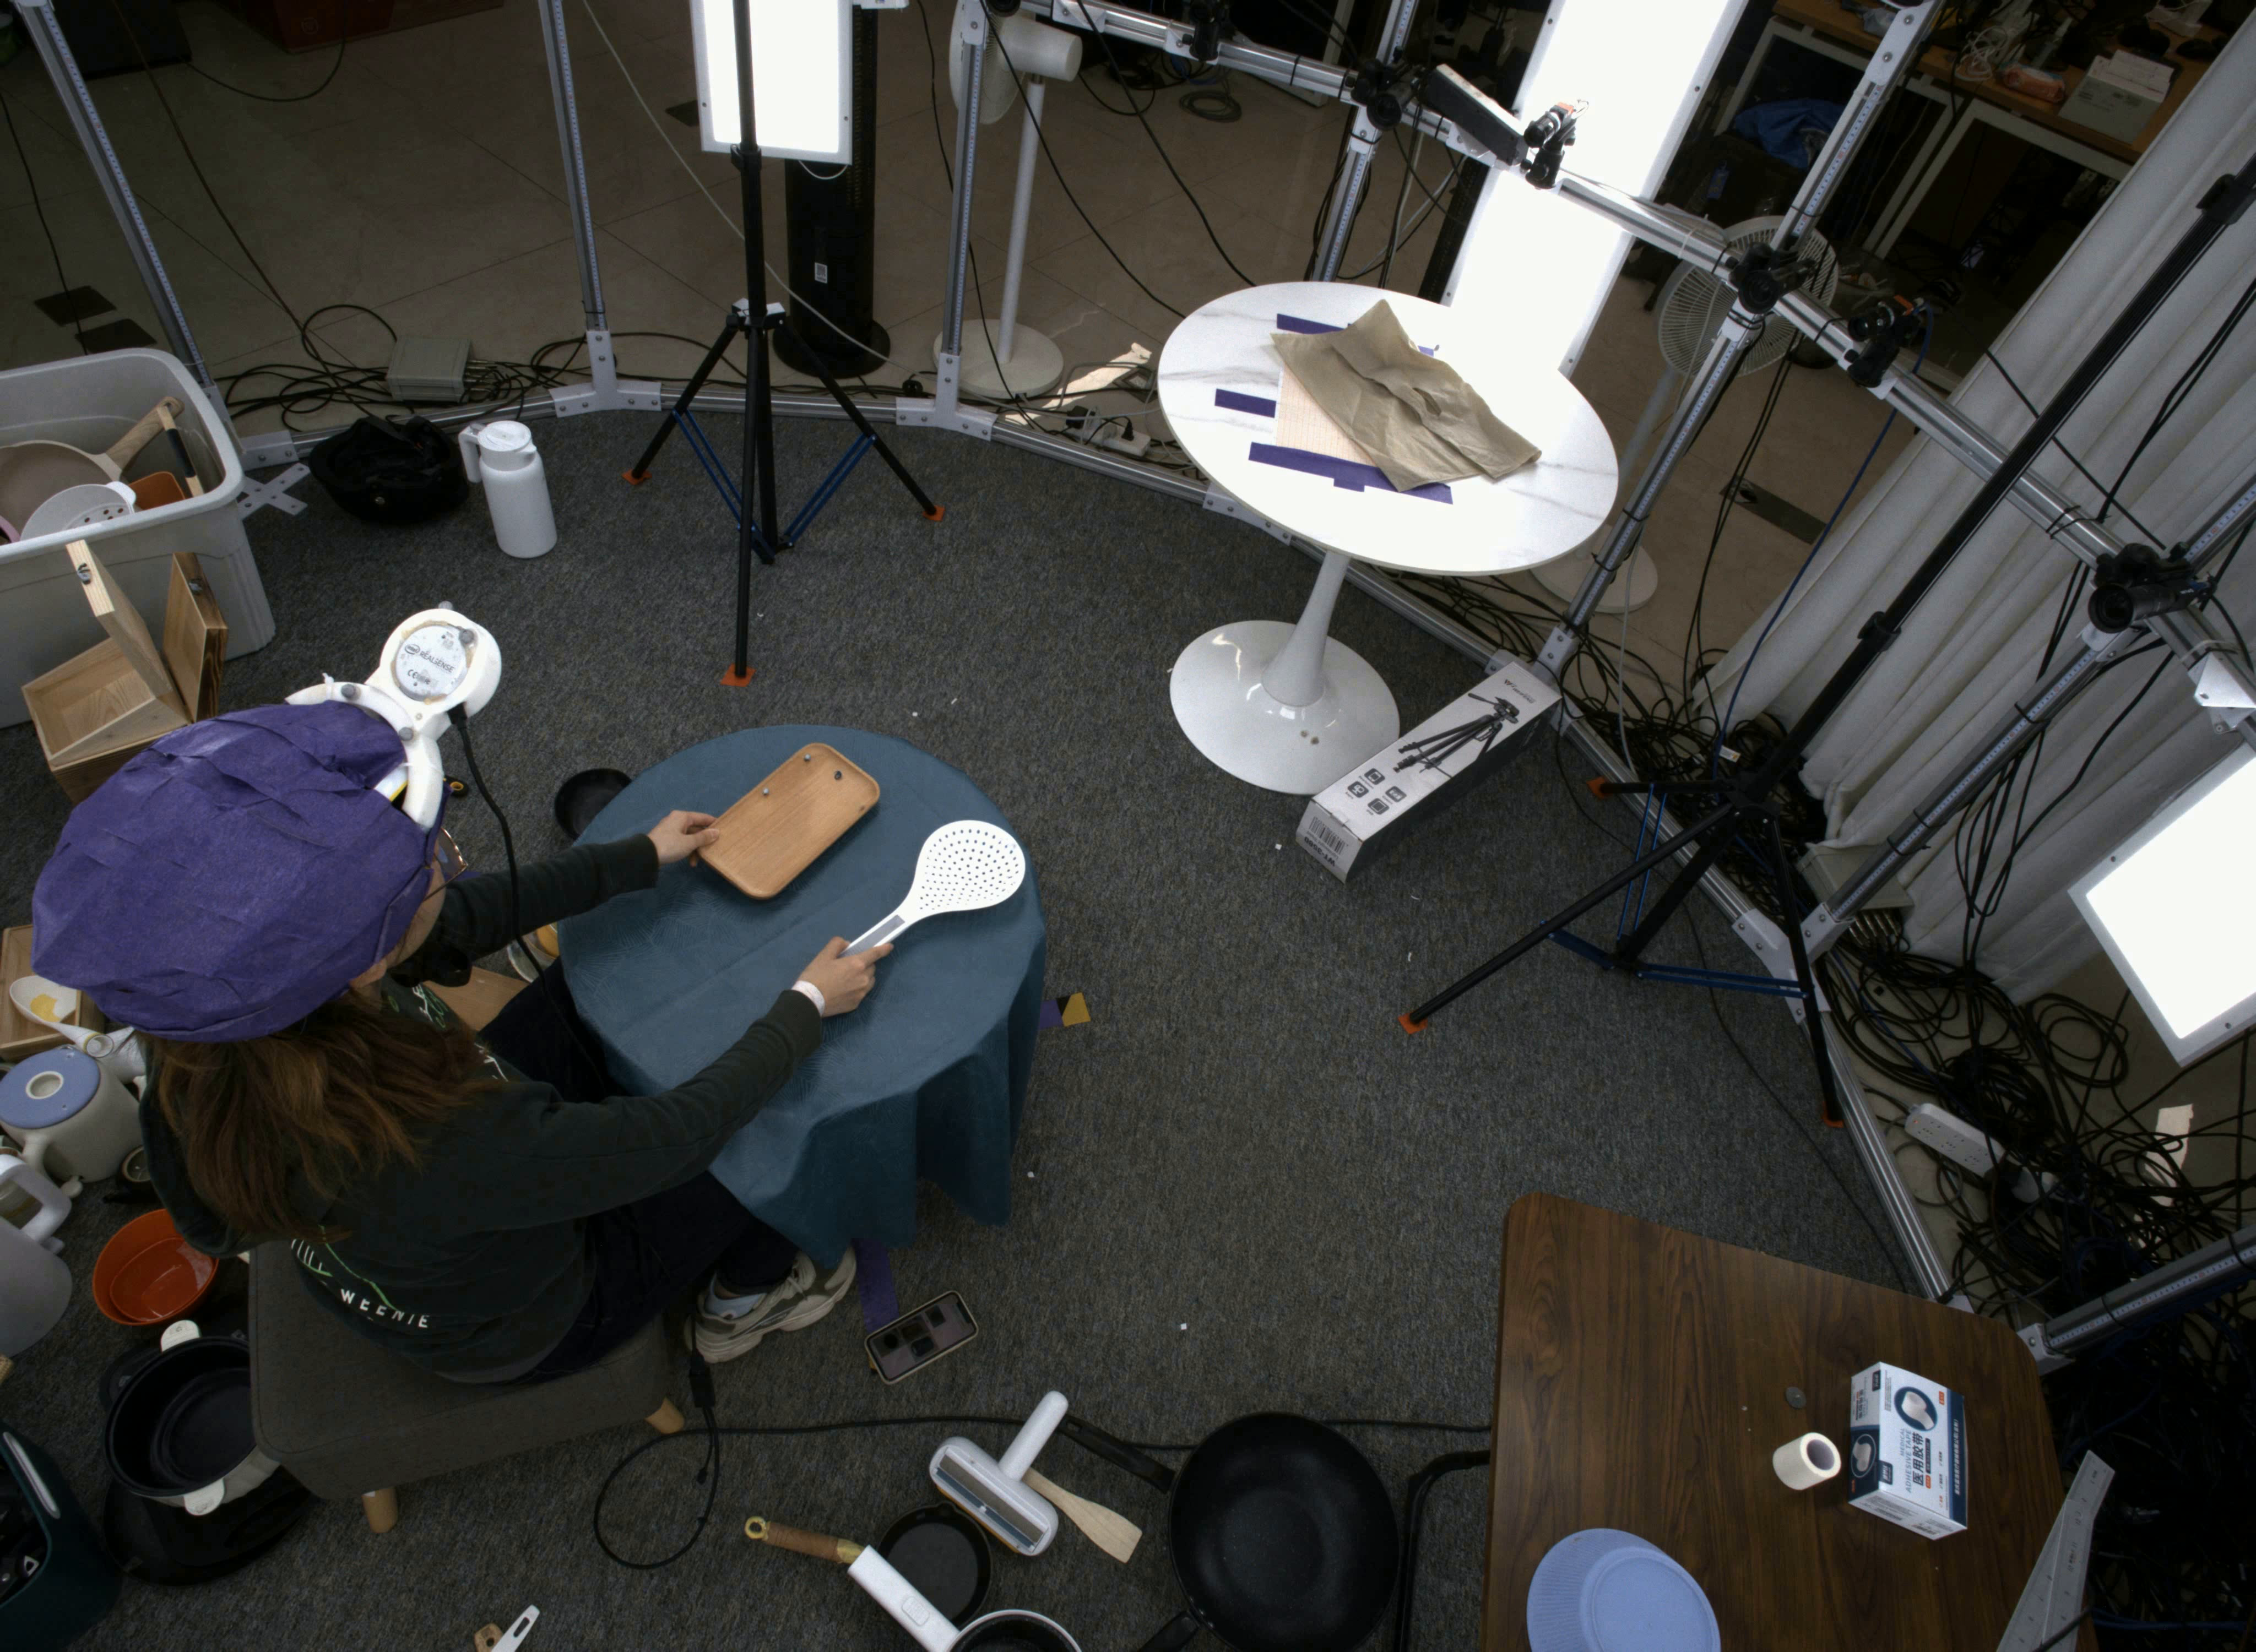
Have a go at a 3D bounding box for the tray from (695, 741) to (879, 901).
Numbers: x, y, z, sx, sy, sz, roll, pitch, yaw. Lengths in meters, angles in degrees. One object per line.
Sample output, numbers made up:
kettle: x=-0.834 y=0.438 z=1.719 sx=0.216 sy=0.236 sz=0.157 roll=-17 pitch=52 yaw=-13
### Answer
tray: x=-0.442 y=-0.010 z=1.693 sx=0.129 sy=0.023 sz=0.250 roll=36 pitch=52 yaw=6

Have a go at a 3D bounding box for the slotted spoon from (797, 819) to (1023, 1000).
slotted spoon: x=-0.275 y=0.106 z=1.646 sx=0.133 sy=0.046 sz=0.350 roll=40 pitch=50 yaw=16
